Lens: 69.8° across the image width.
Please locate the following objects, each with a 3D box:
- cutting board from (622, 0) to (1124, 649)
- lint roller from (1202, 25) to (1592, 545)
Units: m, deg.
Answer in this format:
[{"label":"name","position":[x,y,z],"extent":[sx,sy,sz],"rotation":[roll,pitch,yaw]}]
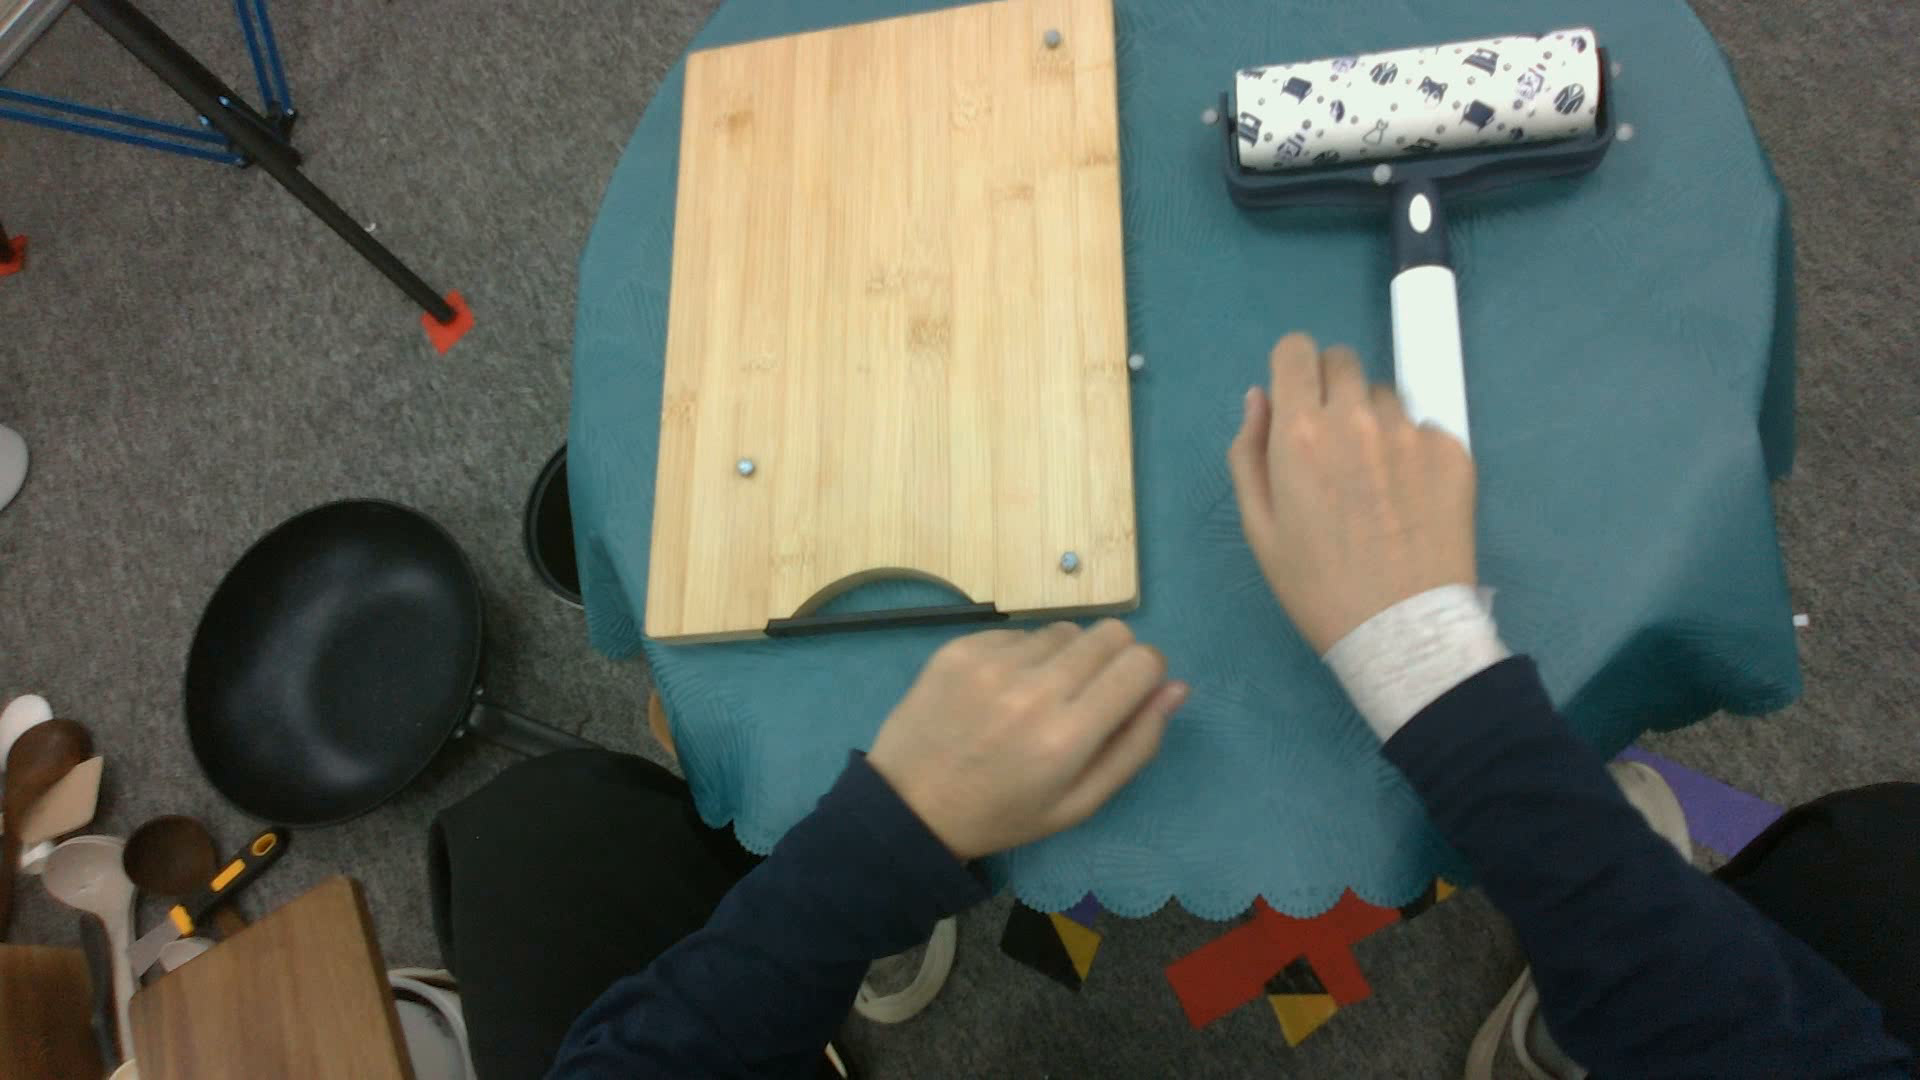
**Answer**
[{"label":"cutting board","position":[-0.044,-0.120,0.706],"extent":[0.250,0.023,0.349],"rotation":[-6,70,11]},{"label":"lint roller","position":[0.196,-0.121,0.630],"extent":[0.176,0.050,0.247],"rotation":[1,74,15]}]
